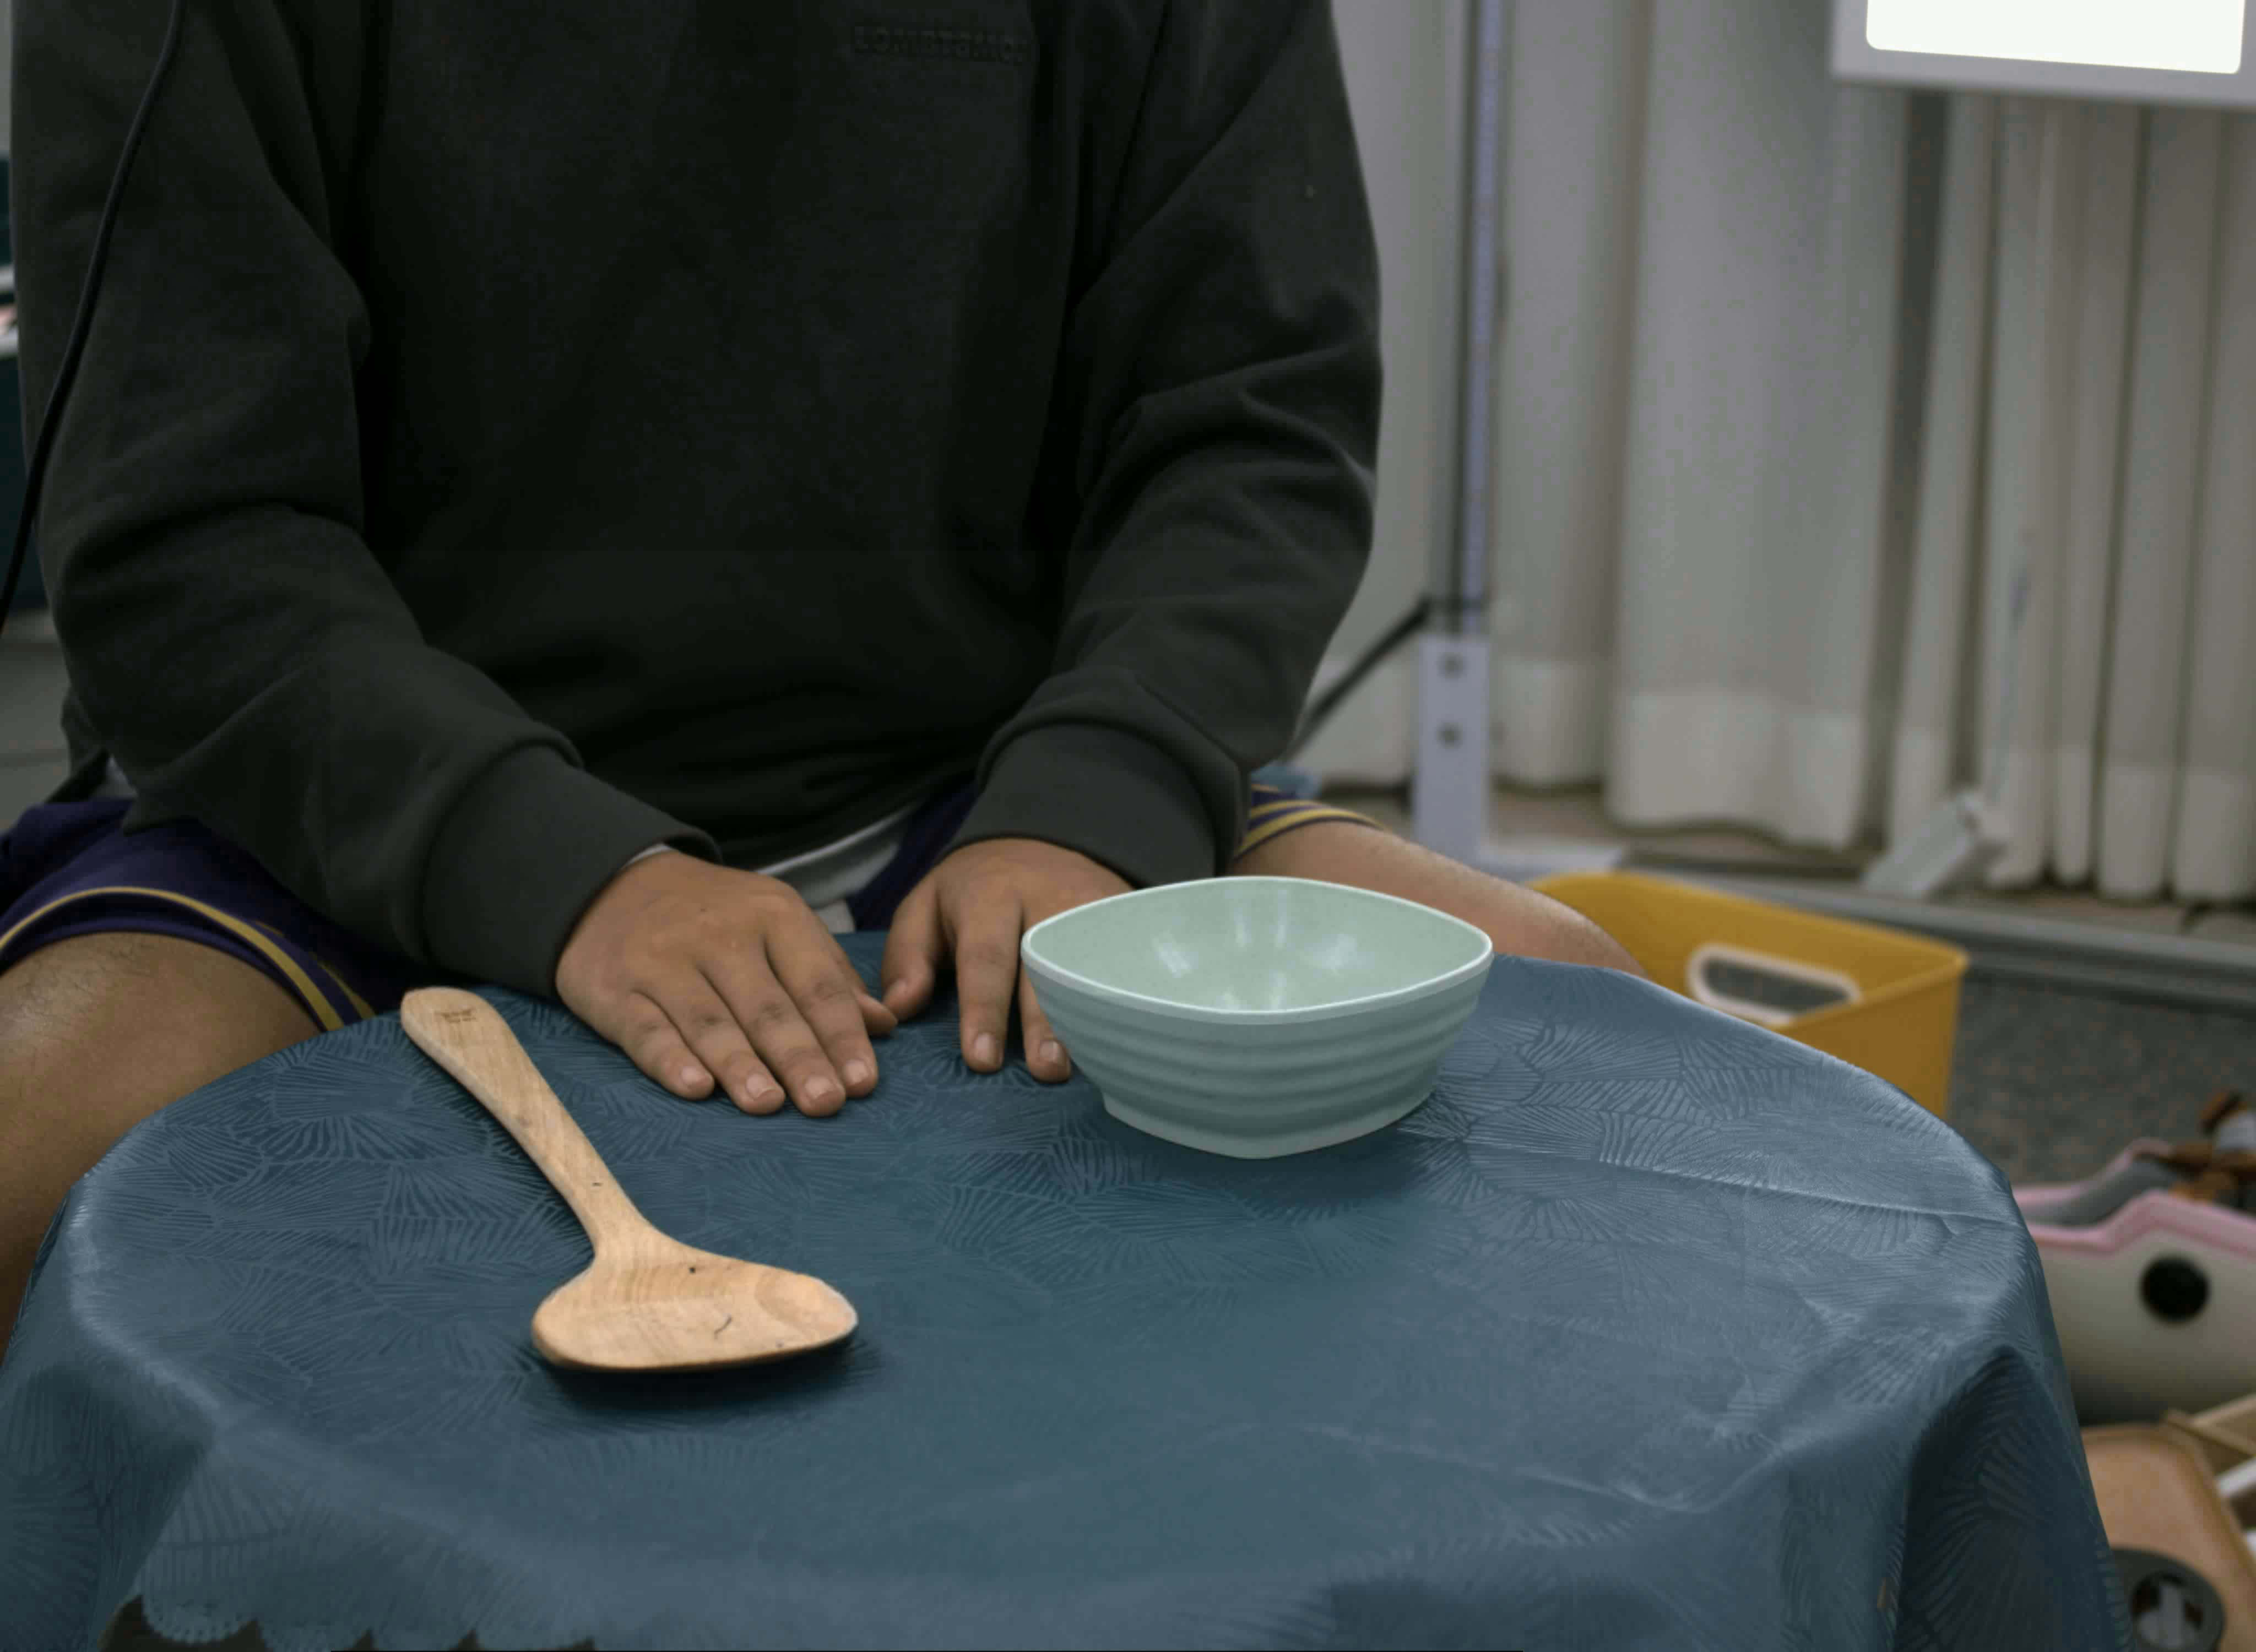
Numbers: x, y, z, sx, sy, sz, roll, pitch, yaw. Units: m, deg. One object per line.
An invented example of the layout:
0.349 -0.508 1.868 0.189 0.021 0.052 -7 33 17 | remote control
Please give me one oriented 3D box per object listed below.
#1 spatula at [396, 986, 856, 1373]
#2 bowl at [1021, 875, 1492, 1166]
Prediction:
-0.178 0.103 1.616 0.096 0.018 0.386 -3 16 -20 | spatula
0.040 0.065 1.692 0.151 0.059 0.150 2 17 0 | bowl
